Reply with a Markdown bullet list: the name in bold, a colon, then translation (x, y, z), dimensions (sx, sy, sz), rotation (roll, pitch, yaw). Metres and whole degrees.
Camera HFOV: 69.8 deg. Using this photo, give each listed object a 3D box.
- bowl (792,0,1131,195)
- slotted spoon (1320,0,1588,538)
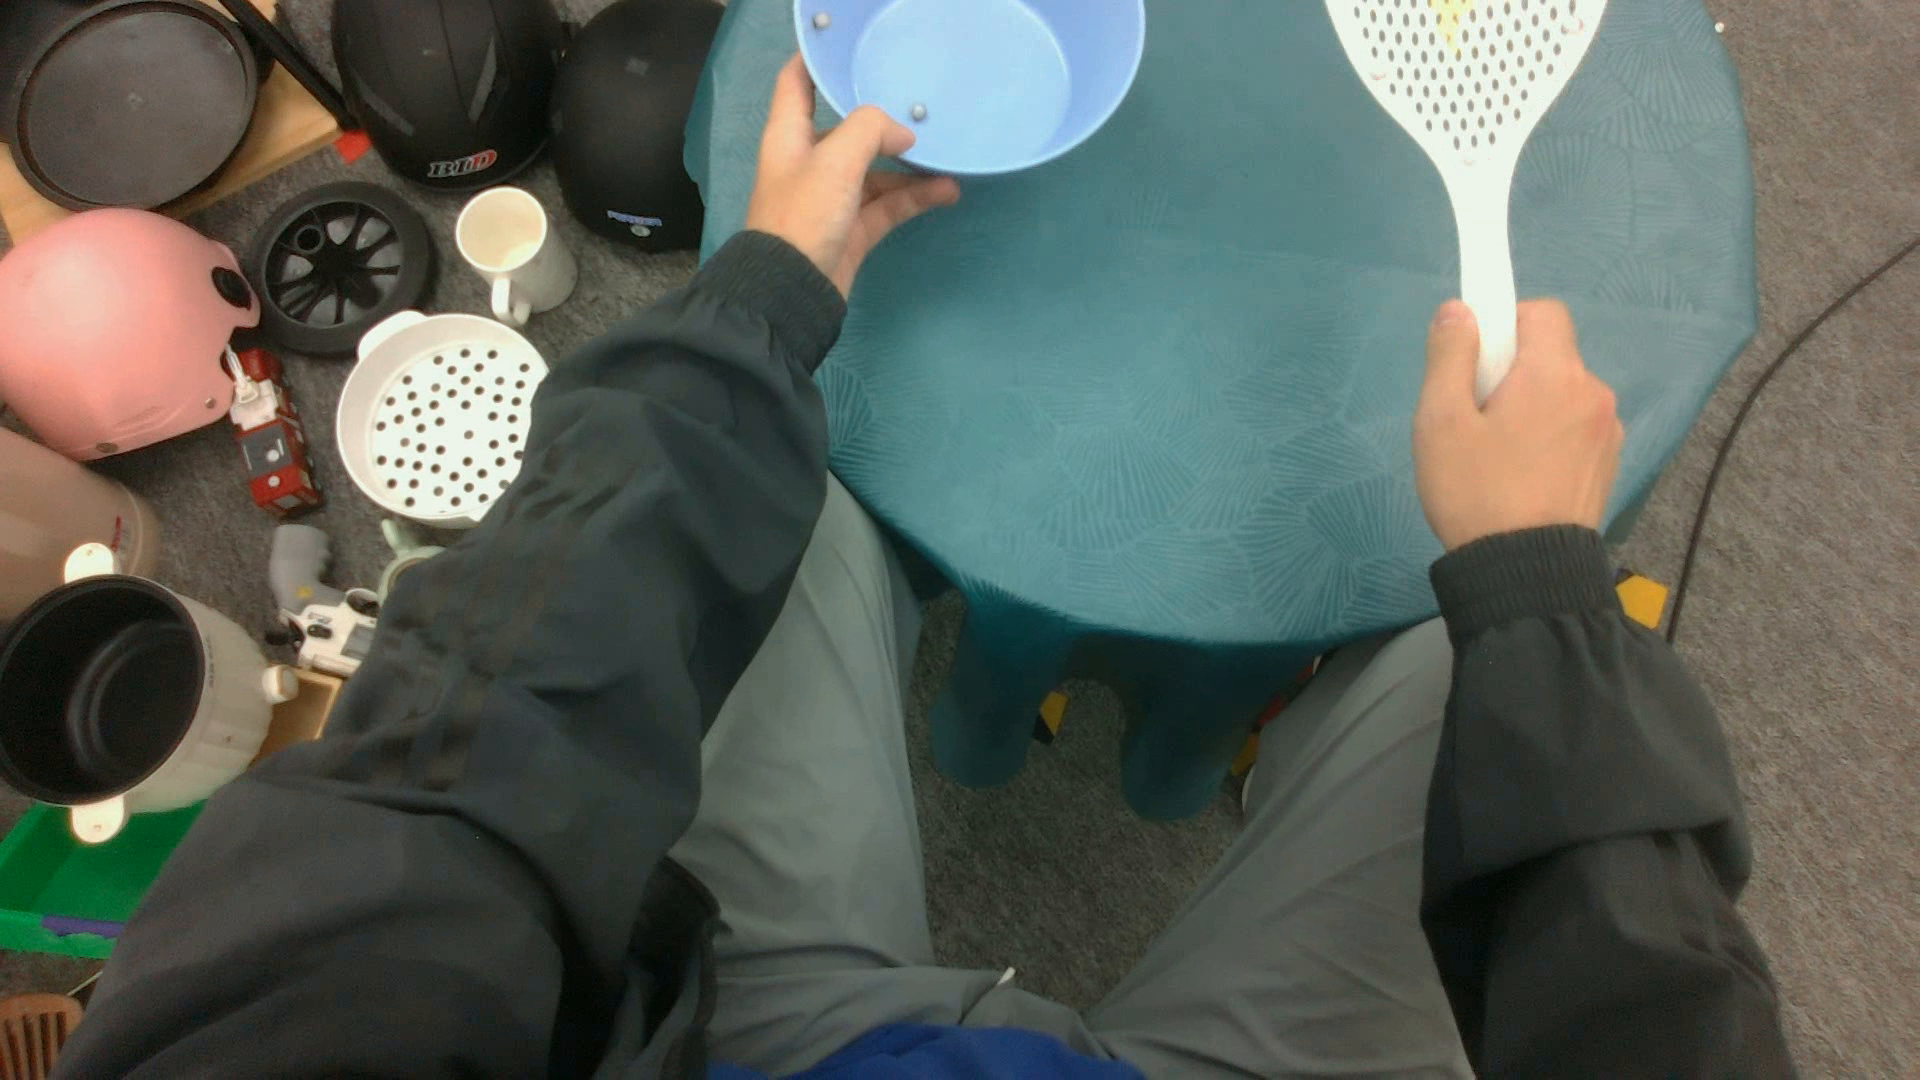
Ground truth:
- **bowl**: translation (0.000, -0.254, 0.742), dimensions (0.176, 0.070, 0.176), rotation (1, 76, -2)
- **slotted spoon**: translation (0.244, -0.175, 0.667), dimensions (0.137, 0.050, 0.348), rotation (-1, 76, 0)
